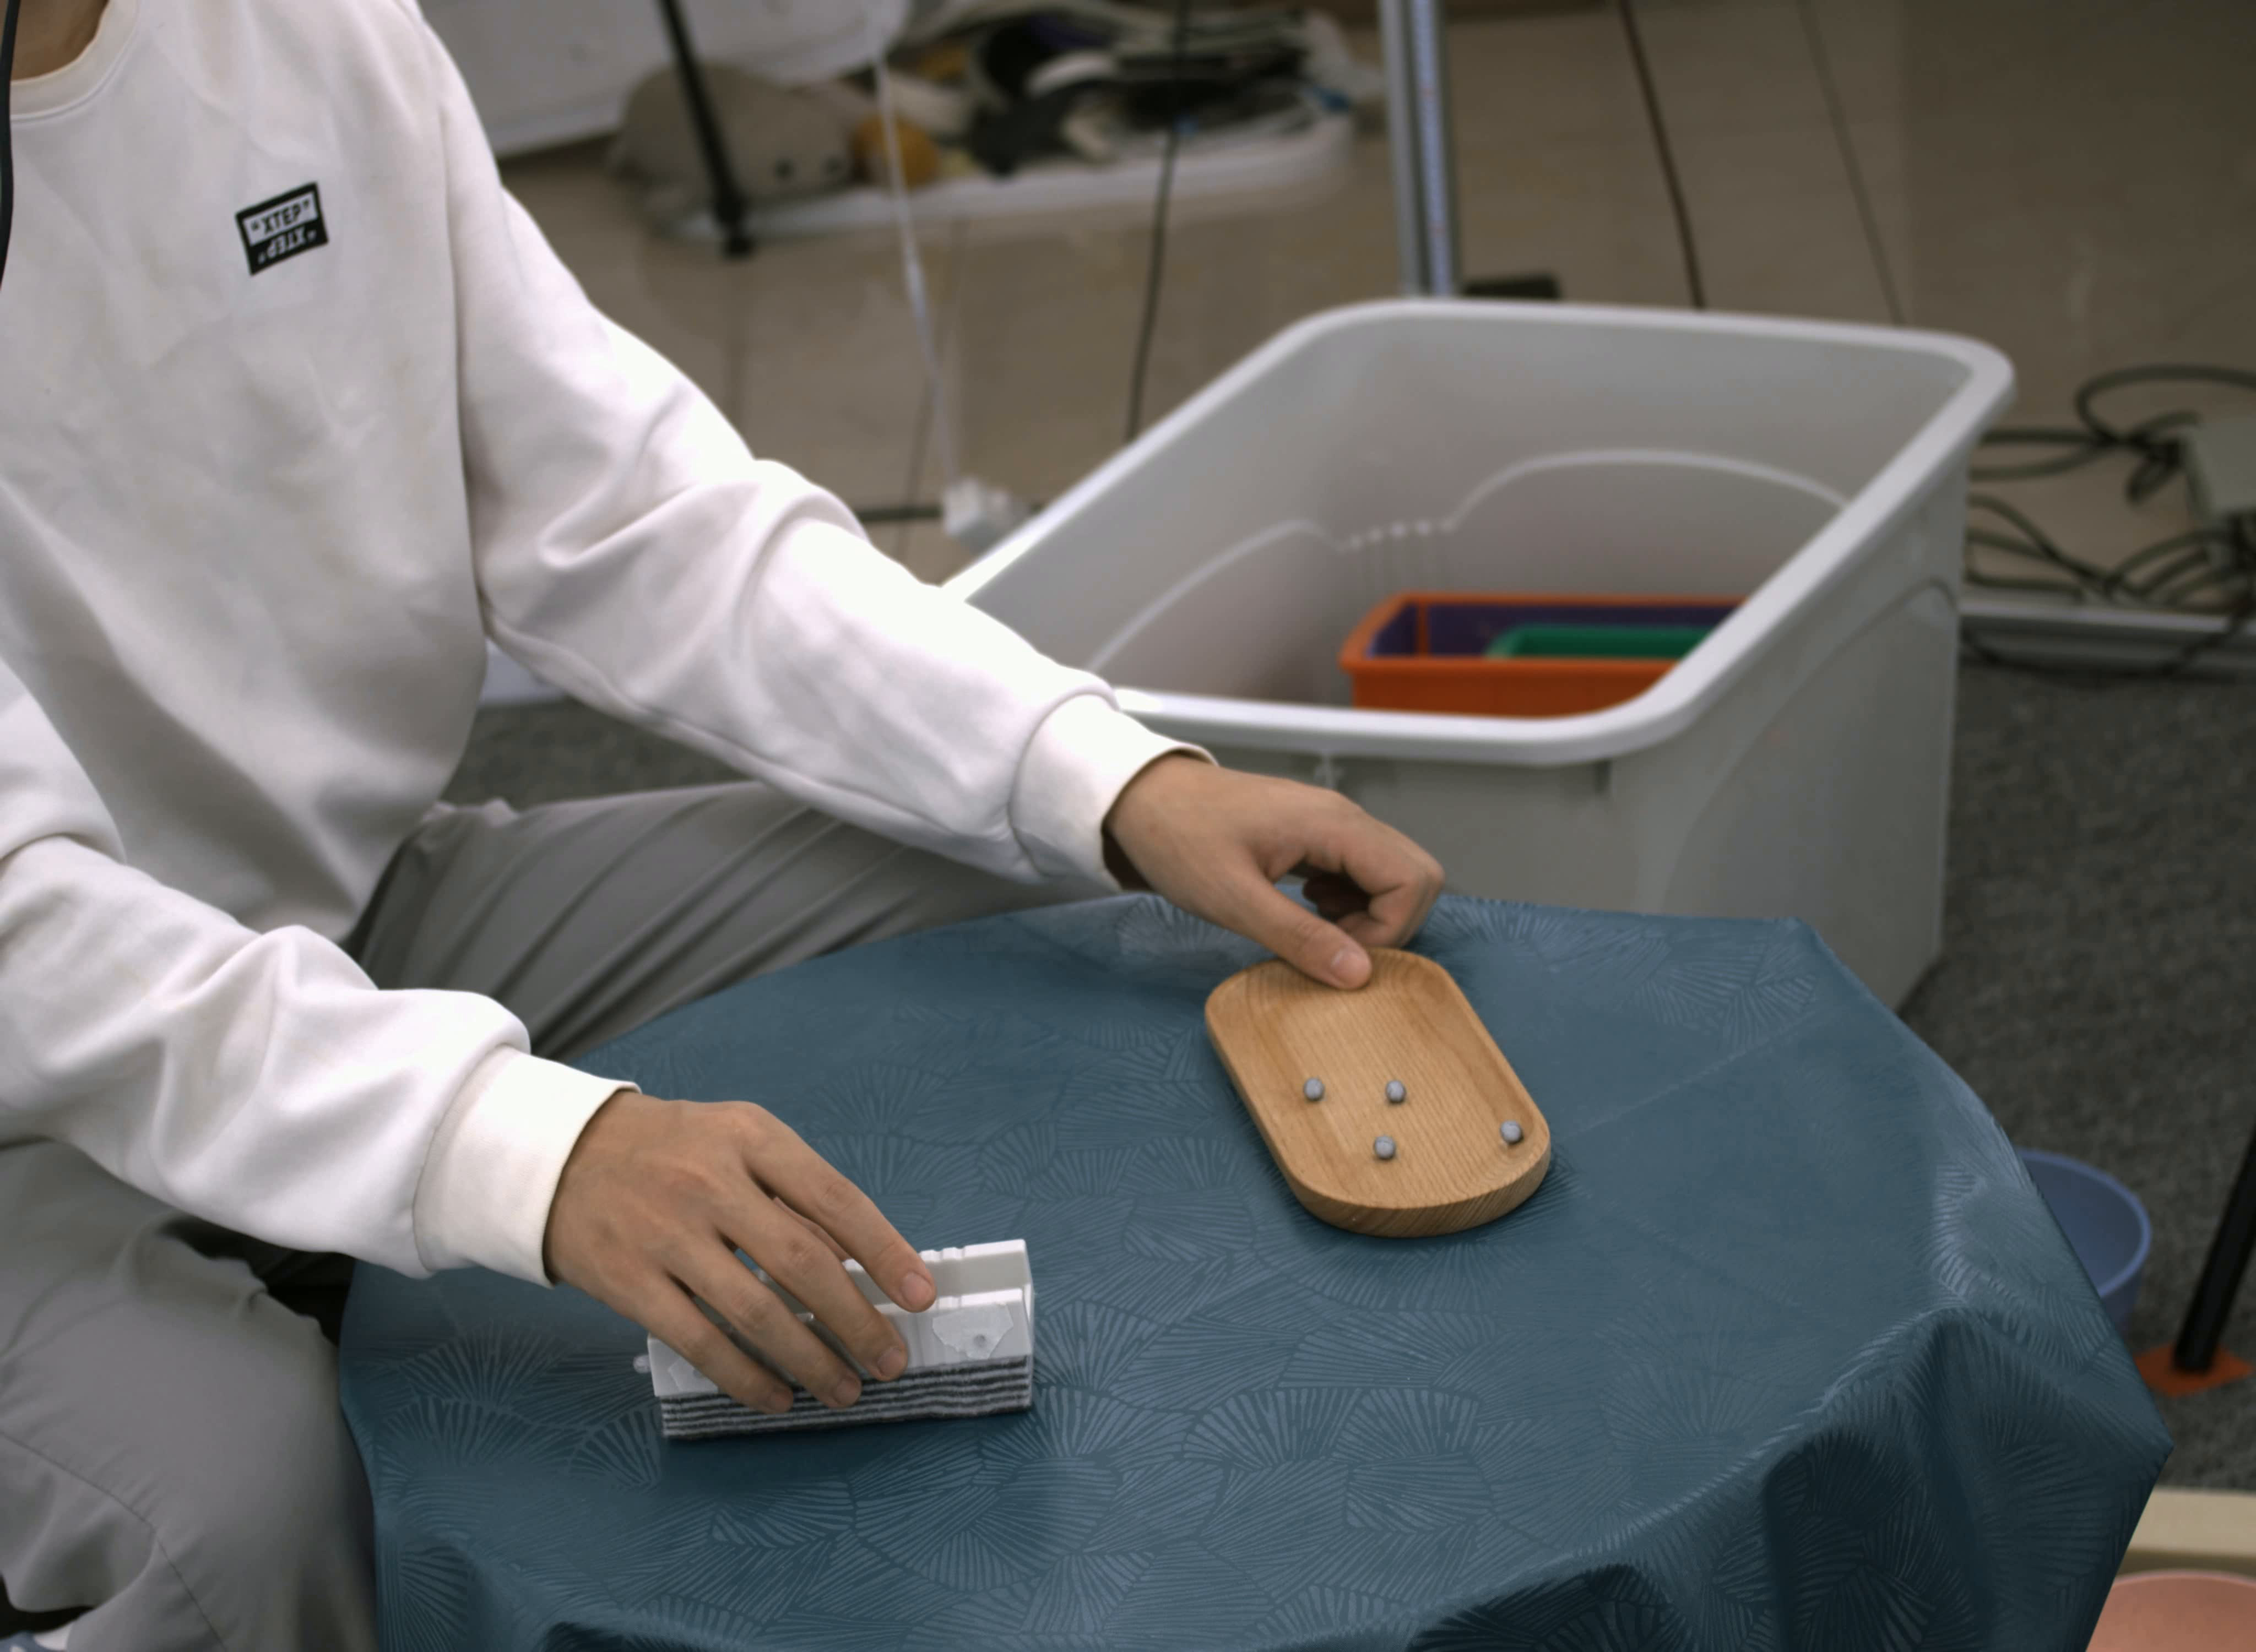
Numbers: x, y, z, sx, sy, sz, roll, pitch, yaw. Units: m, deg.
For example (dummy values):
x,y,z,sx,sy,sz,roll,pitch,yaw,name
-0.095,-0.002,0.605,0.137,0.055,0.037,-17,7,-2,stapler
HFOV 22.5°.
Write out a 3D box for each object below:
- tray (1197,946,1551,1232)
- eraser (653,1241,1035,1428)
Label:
x,y,z,sx,sy,sz,roll,pitch,yaw,name
0.093,0.100,2.190,0.101,0.020,0.228,-10,23,-10,tray
-0.100,0.181,2.021,0.134,0.047,0.049,-6,19,0,eraser
